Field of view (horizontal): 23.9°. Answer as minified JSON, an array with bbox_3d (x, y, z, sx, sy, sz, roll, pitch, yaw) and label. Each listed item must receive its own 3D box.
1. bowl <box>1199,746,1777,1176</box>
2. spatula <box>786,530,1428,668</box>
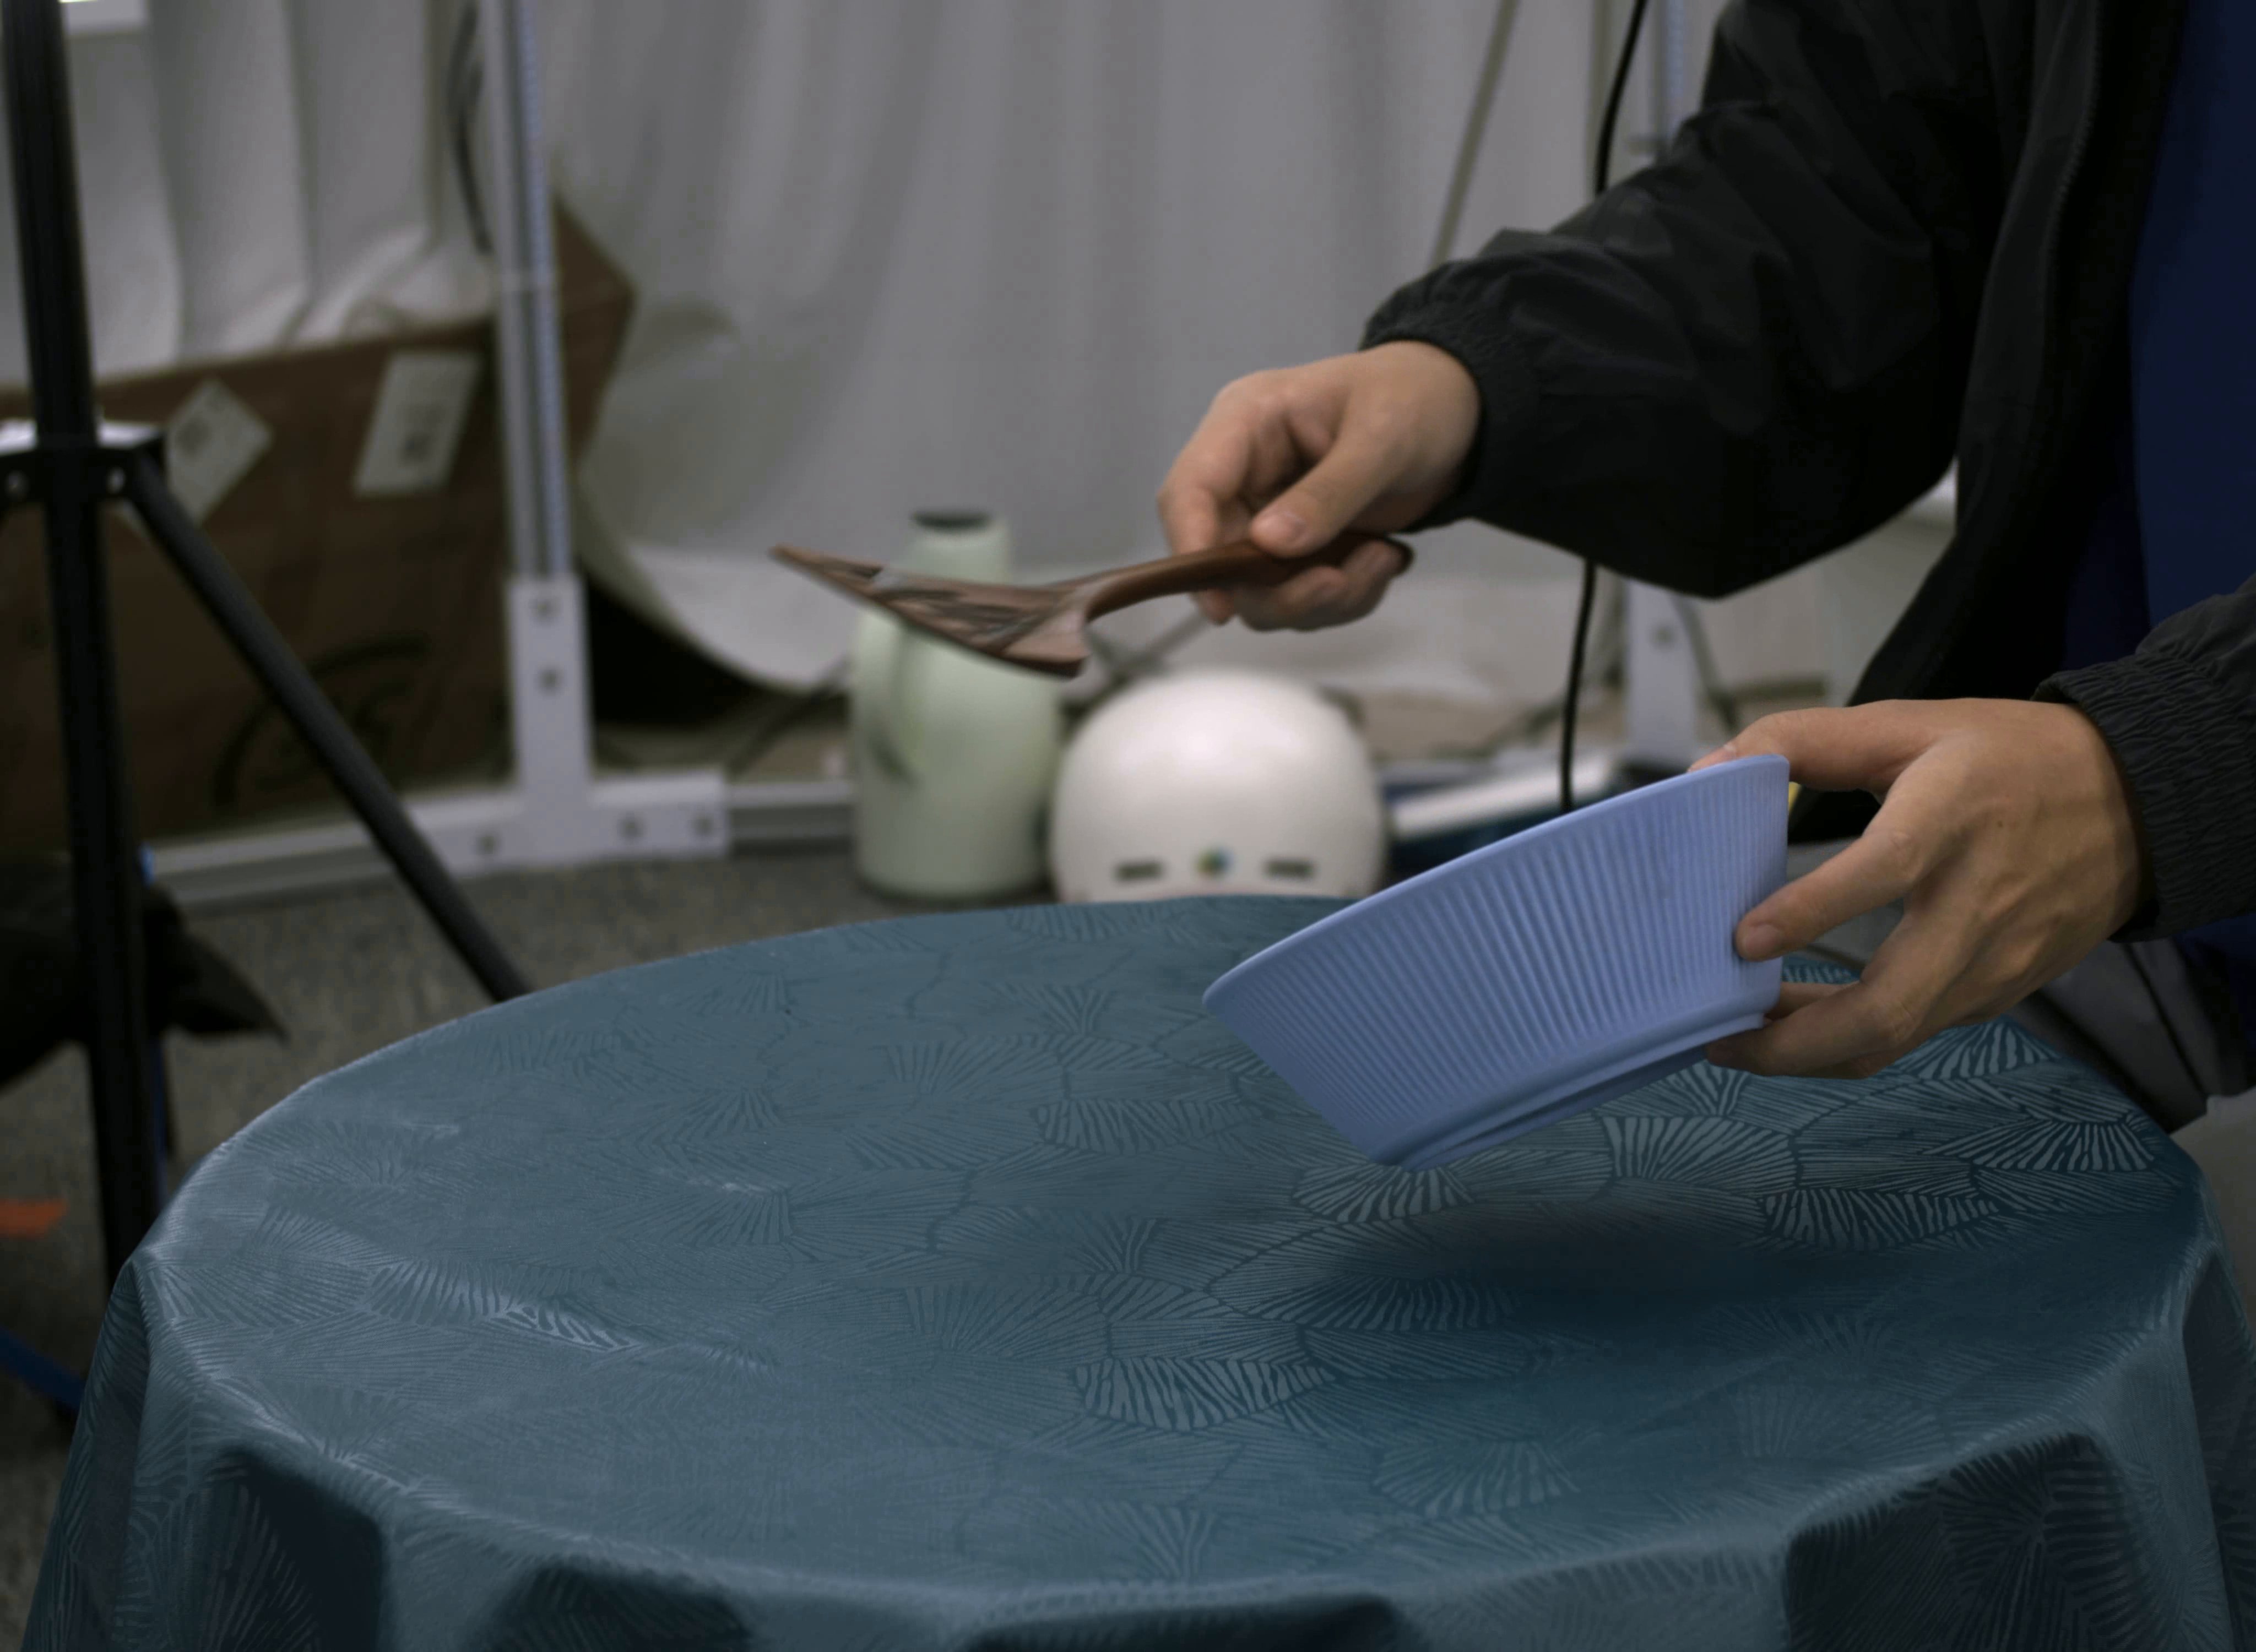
[{"bbox_3d":[0.112,0.045,1.470,0.175,0.071,0.176,-22,-8,-5],"label":"bowl"},{"bbox_3d":[0.011,-0.078,1.705,0.087,0.024,0.379,25,16,23],"label":"spatula"}]
